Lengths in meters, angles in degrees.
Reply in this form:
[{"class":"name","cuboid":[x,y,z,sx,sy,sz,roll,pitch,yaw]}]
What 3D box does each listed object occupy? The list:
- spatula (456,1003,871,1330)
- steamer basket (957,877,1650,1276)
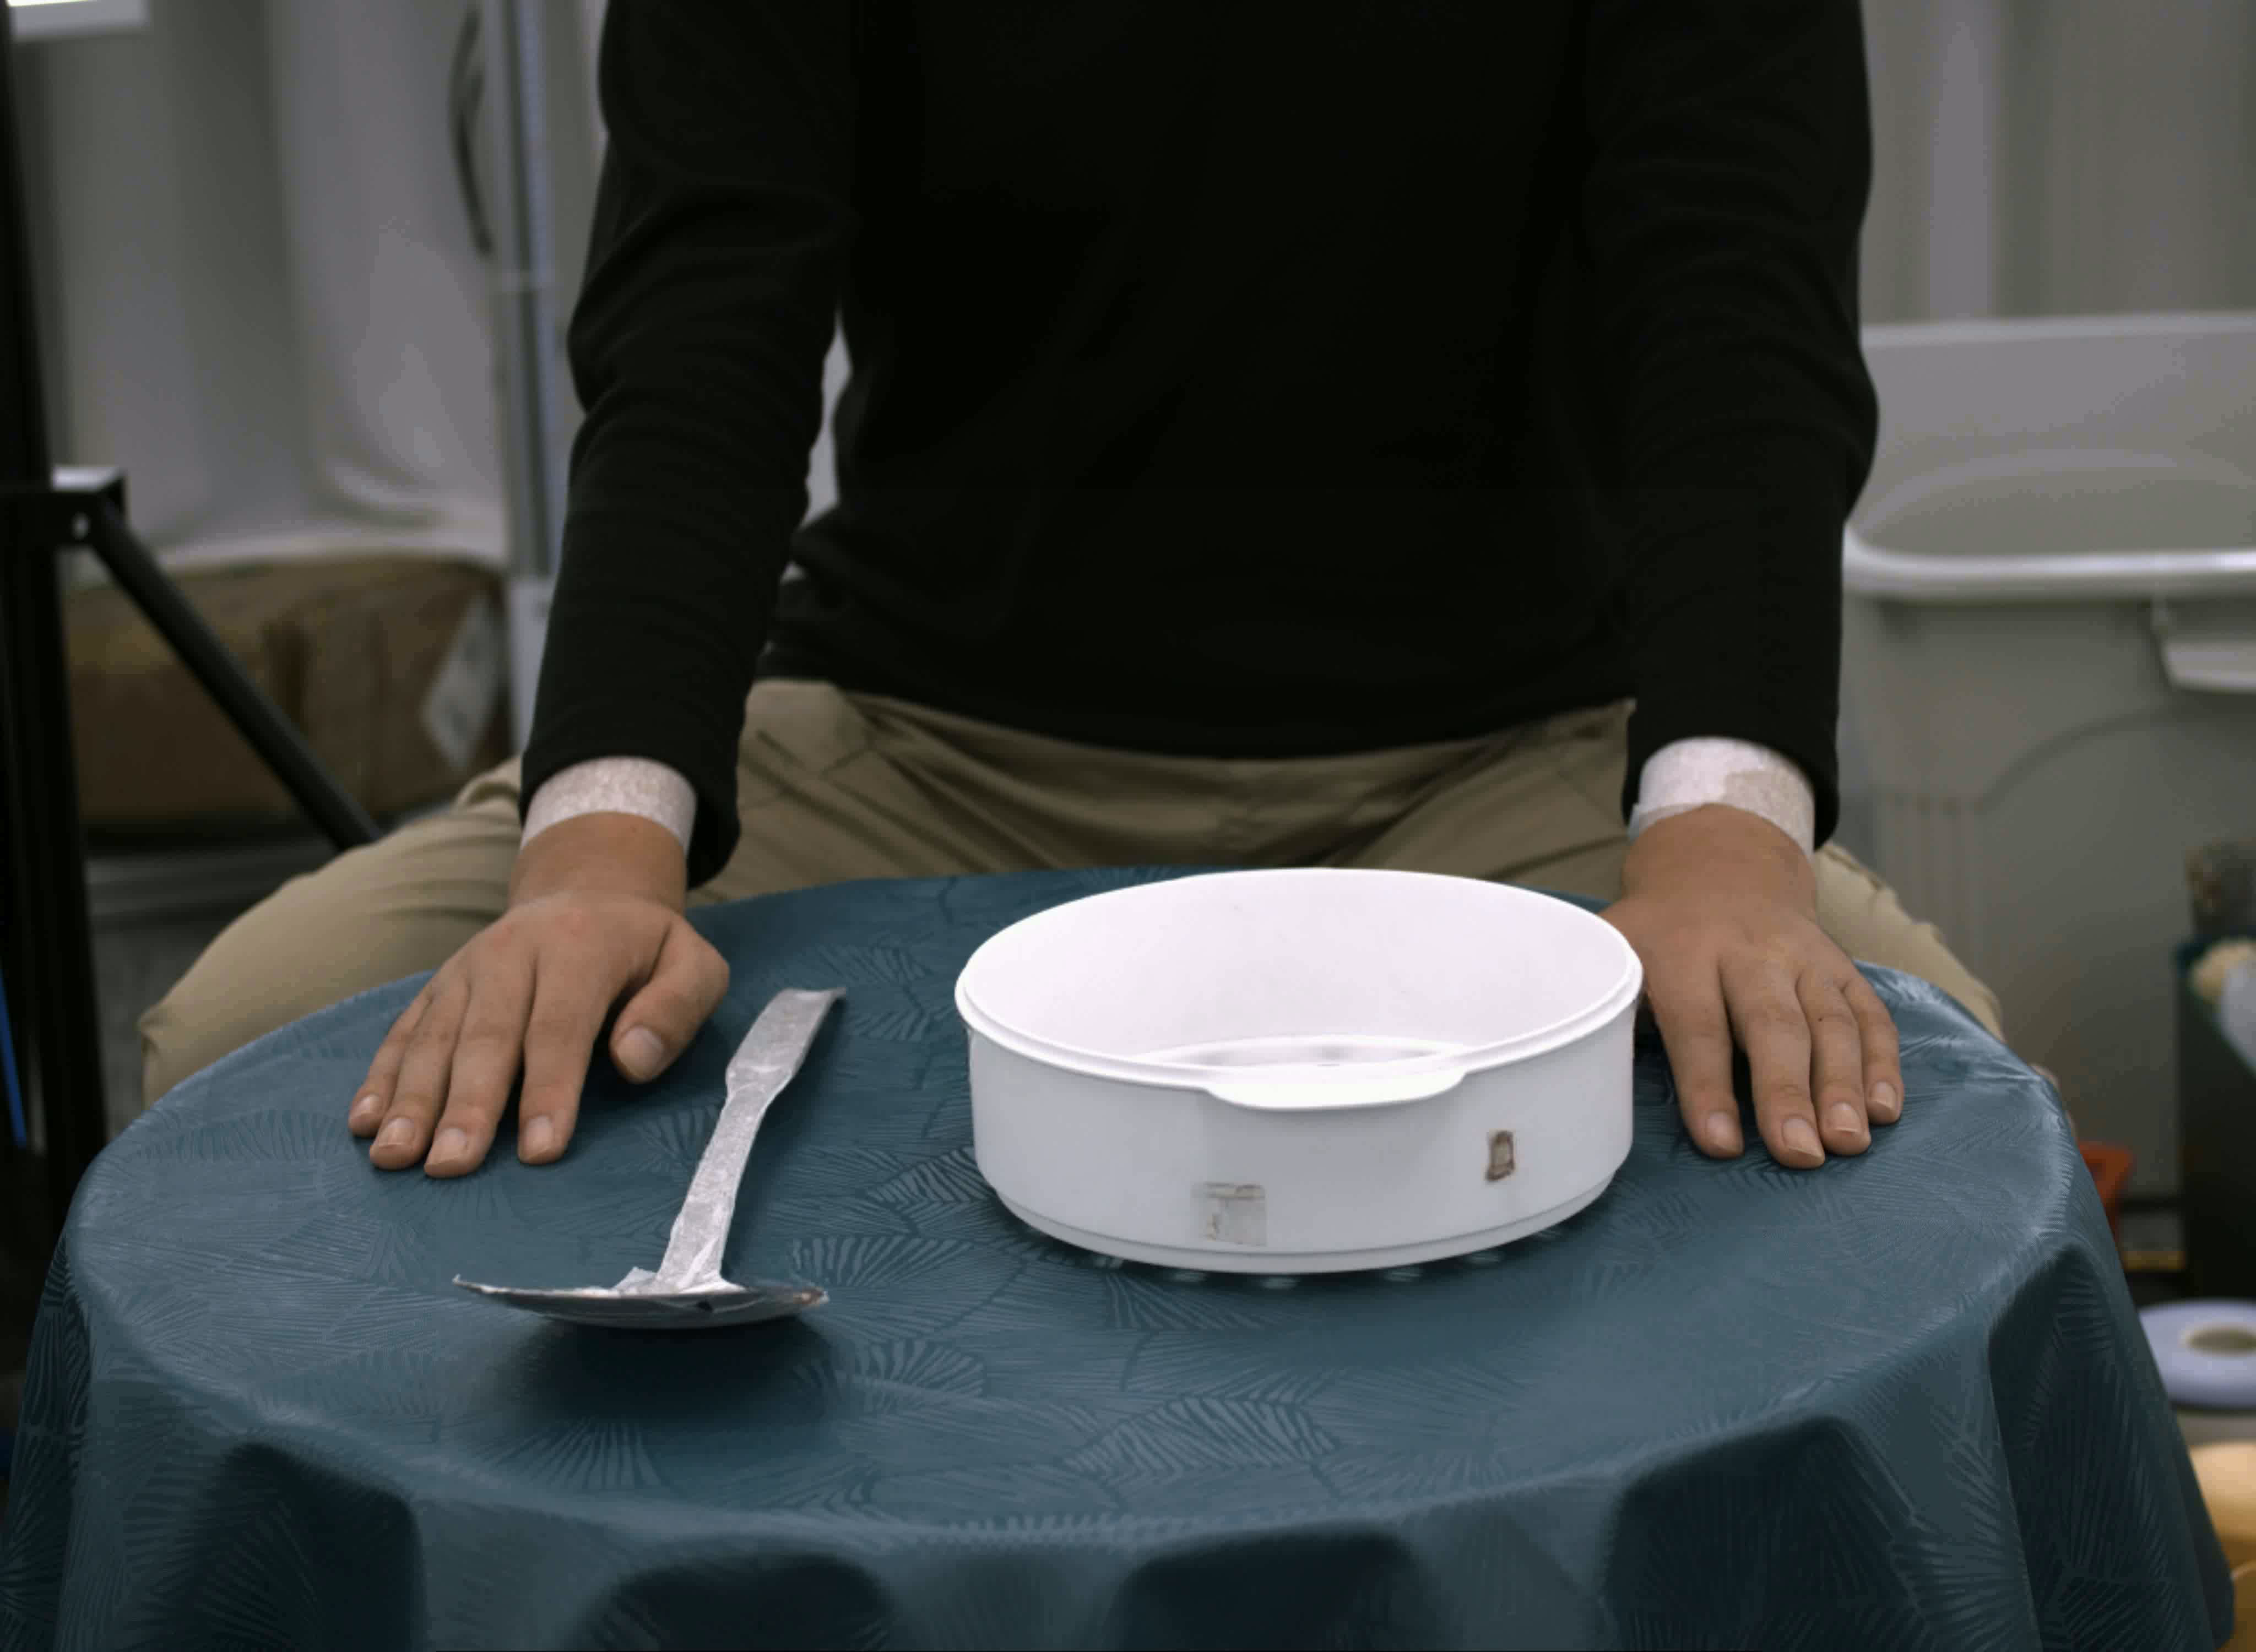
[{"class":"spatula","cuboid":[-0.114,0.091,1.567,0.099,0.045,0.364,-3,16,7]},{"class":"steamer basket","cuboid":[0.051,0.072,1.547,0.200,0.069,0.232,-2,15,-2]}]
